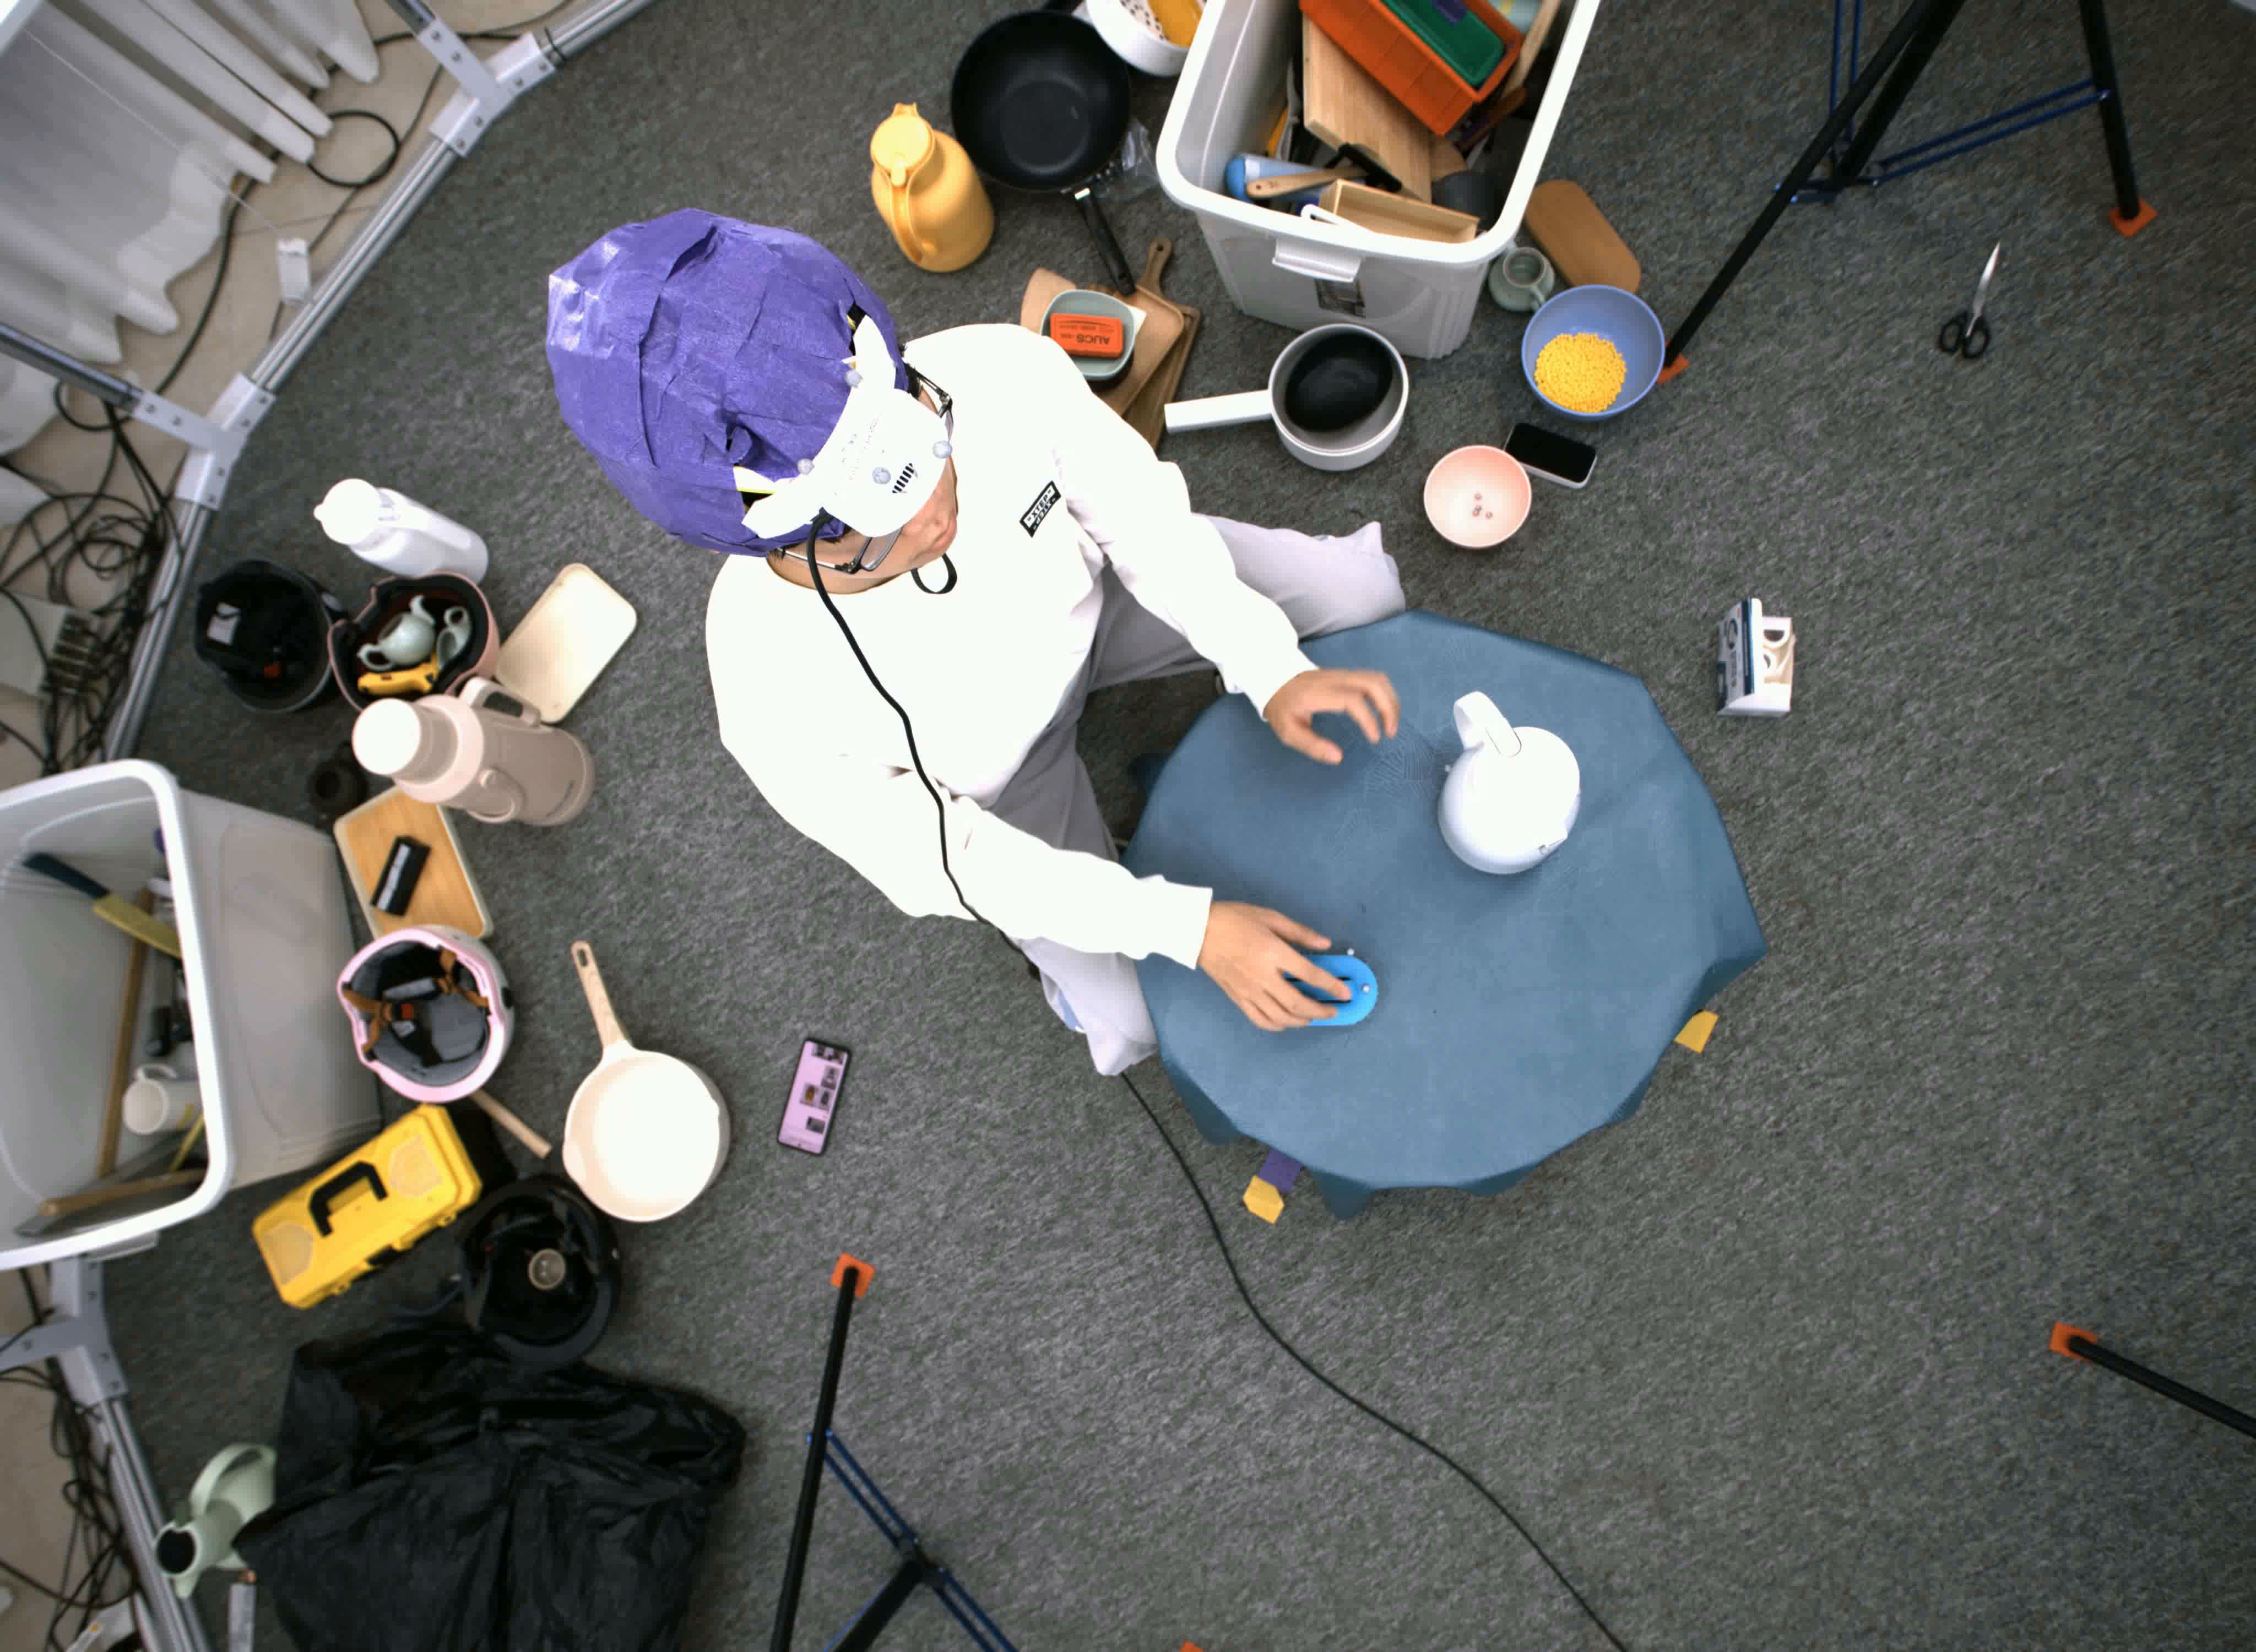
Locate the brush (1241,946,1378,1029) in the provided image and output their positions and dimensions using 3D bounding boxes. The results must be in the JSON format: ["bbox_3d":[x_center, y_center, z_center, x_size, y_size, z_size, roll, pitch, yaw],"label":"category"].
[{"bbox_3d":[0.188,0.167,1.435,0.142,0.063,0.084,0,91,10],"label":"brush"}]

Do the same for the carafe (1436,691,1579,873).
[{"bbox_3d":[0.360,-0.048,1.322,0.133,0.249,0.166,-28,80,6],"label":"carafe"}]
